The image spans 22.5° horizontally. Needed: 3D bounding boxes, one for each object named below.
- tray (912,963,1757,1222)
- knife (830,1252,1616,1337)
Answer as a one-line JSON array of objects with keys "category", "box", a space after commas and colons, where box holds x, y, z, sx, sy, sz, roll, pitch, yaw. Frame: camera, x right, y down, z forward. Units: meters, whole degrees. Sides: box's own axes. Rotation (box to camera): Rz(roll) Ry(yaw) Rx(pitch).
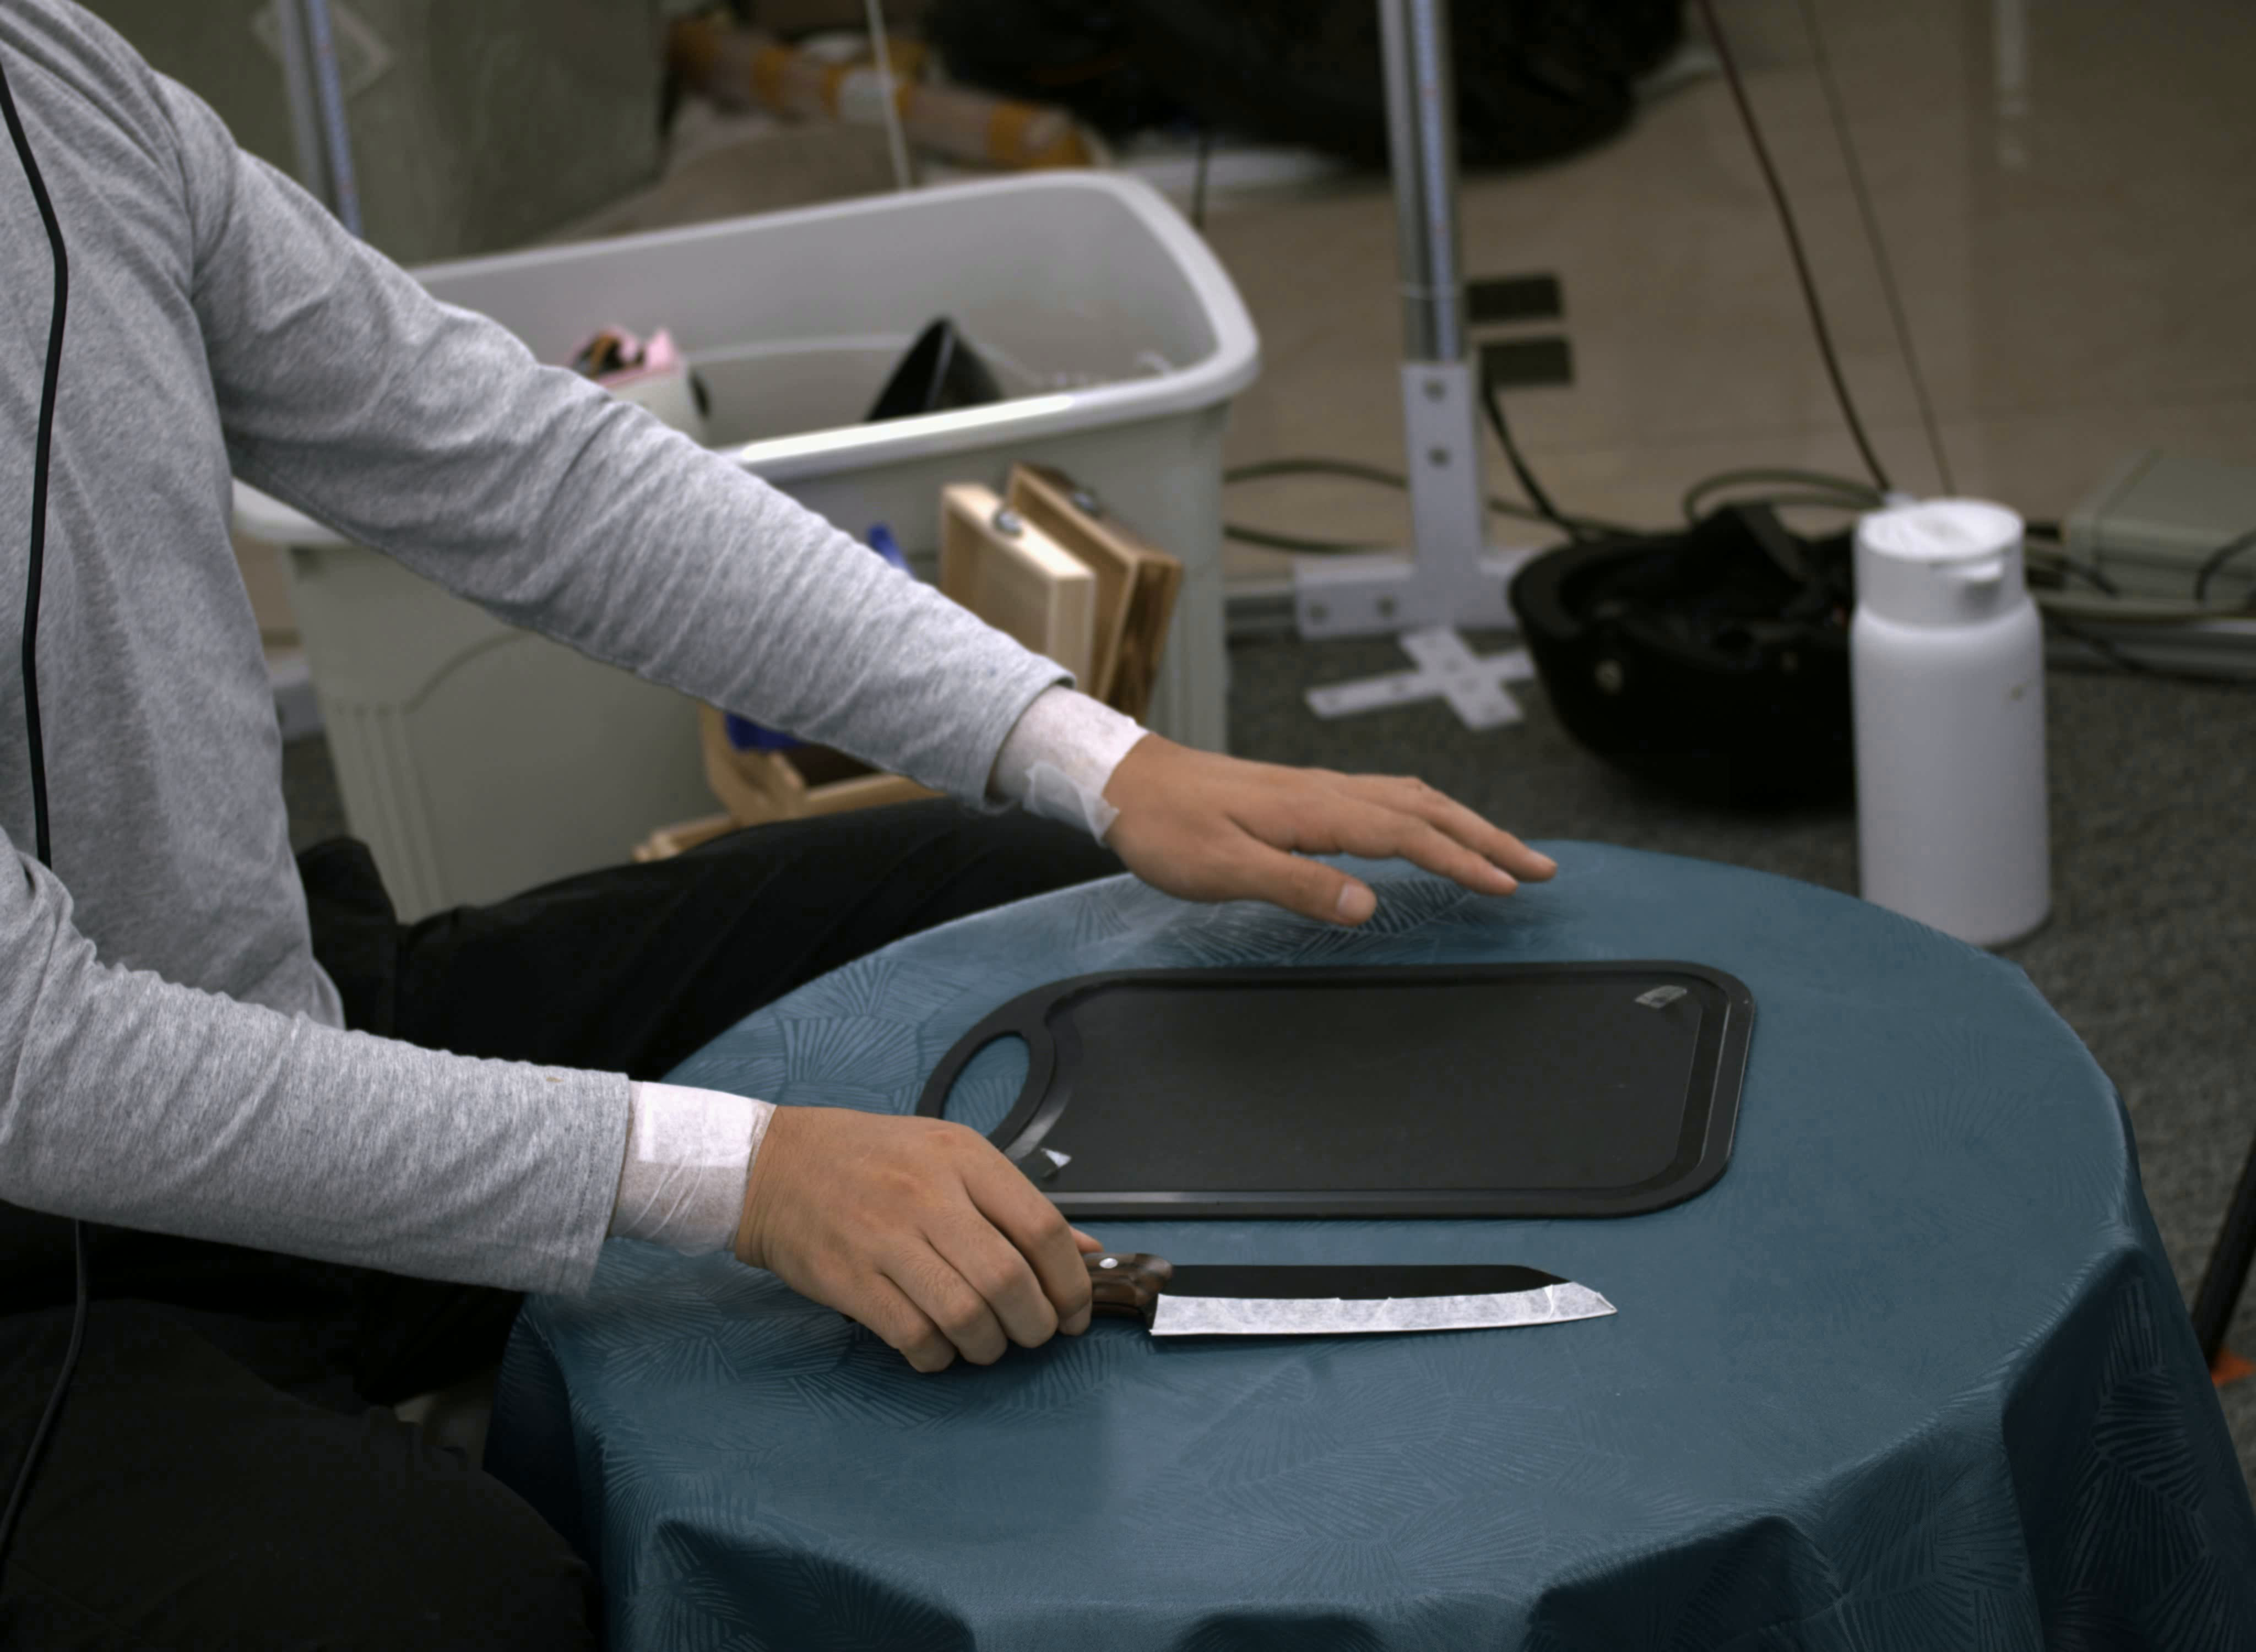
[{"category": "tray", "box": [0.077, 0.101, 2.209, 0.325, 0.010, 0.208, -1, 25, 13]}, {"category": "knife", "box": [0.033, 0.171, 2.058, 0.288, 0.020, 0.049, 0, 31, 9]}]
